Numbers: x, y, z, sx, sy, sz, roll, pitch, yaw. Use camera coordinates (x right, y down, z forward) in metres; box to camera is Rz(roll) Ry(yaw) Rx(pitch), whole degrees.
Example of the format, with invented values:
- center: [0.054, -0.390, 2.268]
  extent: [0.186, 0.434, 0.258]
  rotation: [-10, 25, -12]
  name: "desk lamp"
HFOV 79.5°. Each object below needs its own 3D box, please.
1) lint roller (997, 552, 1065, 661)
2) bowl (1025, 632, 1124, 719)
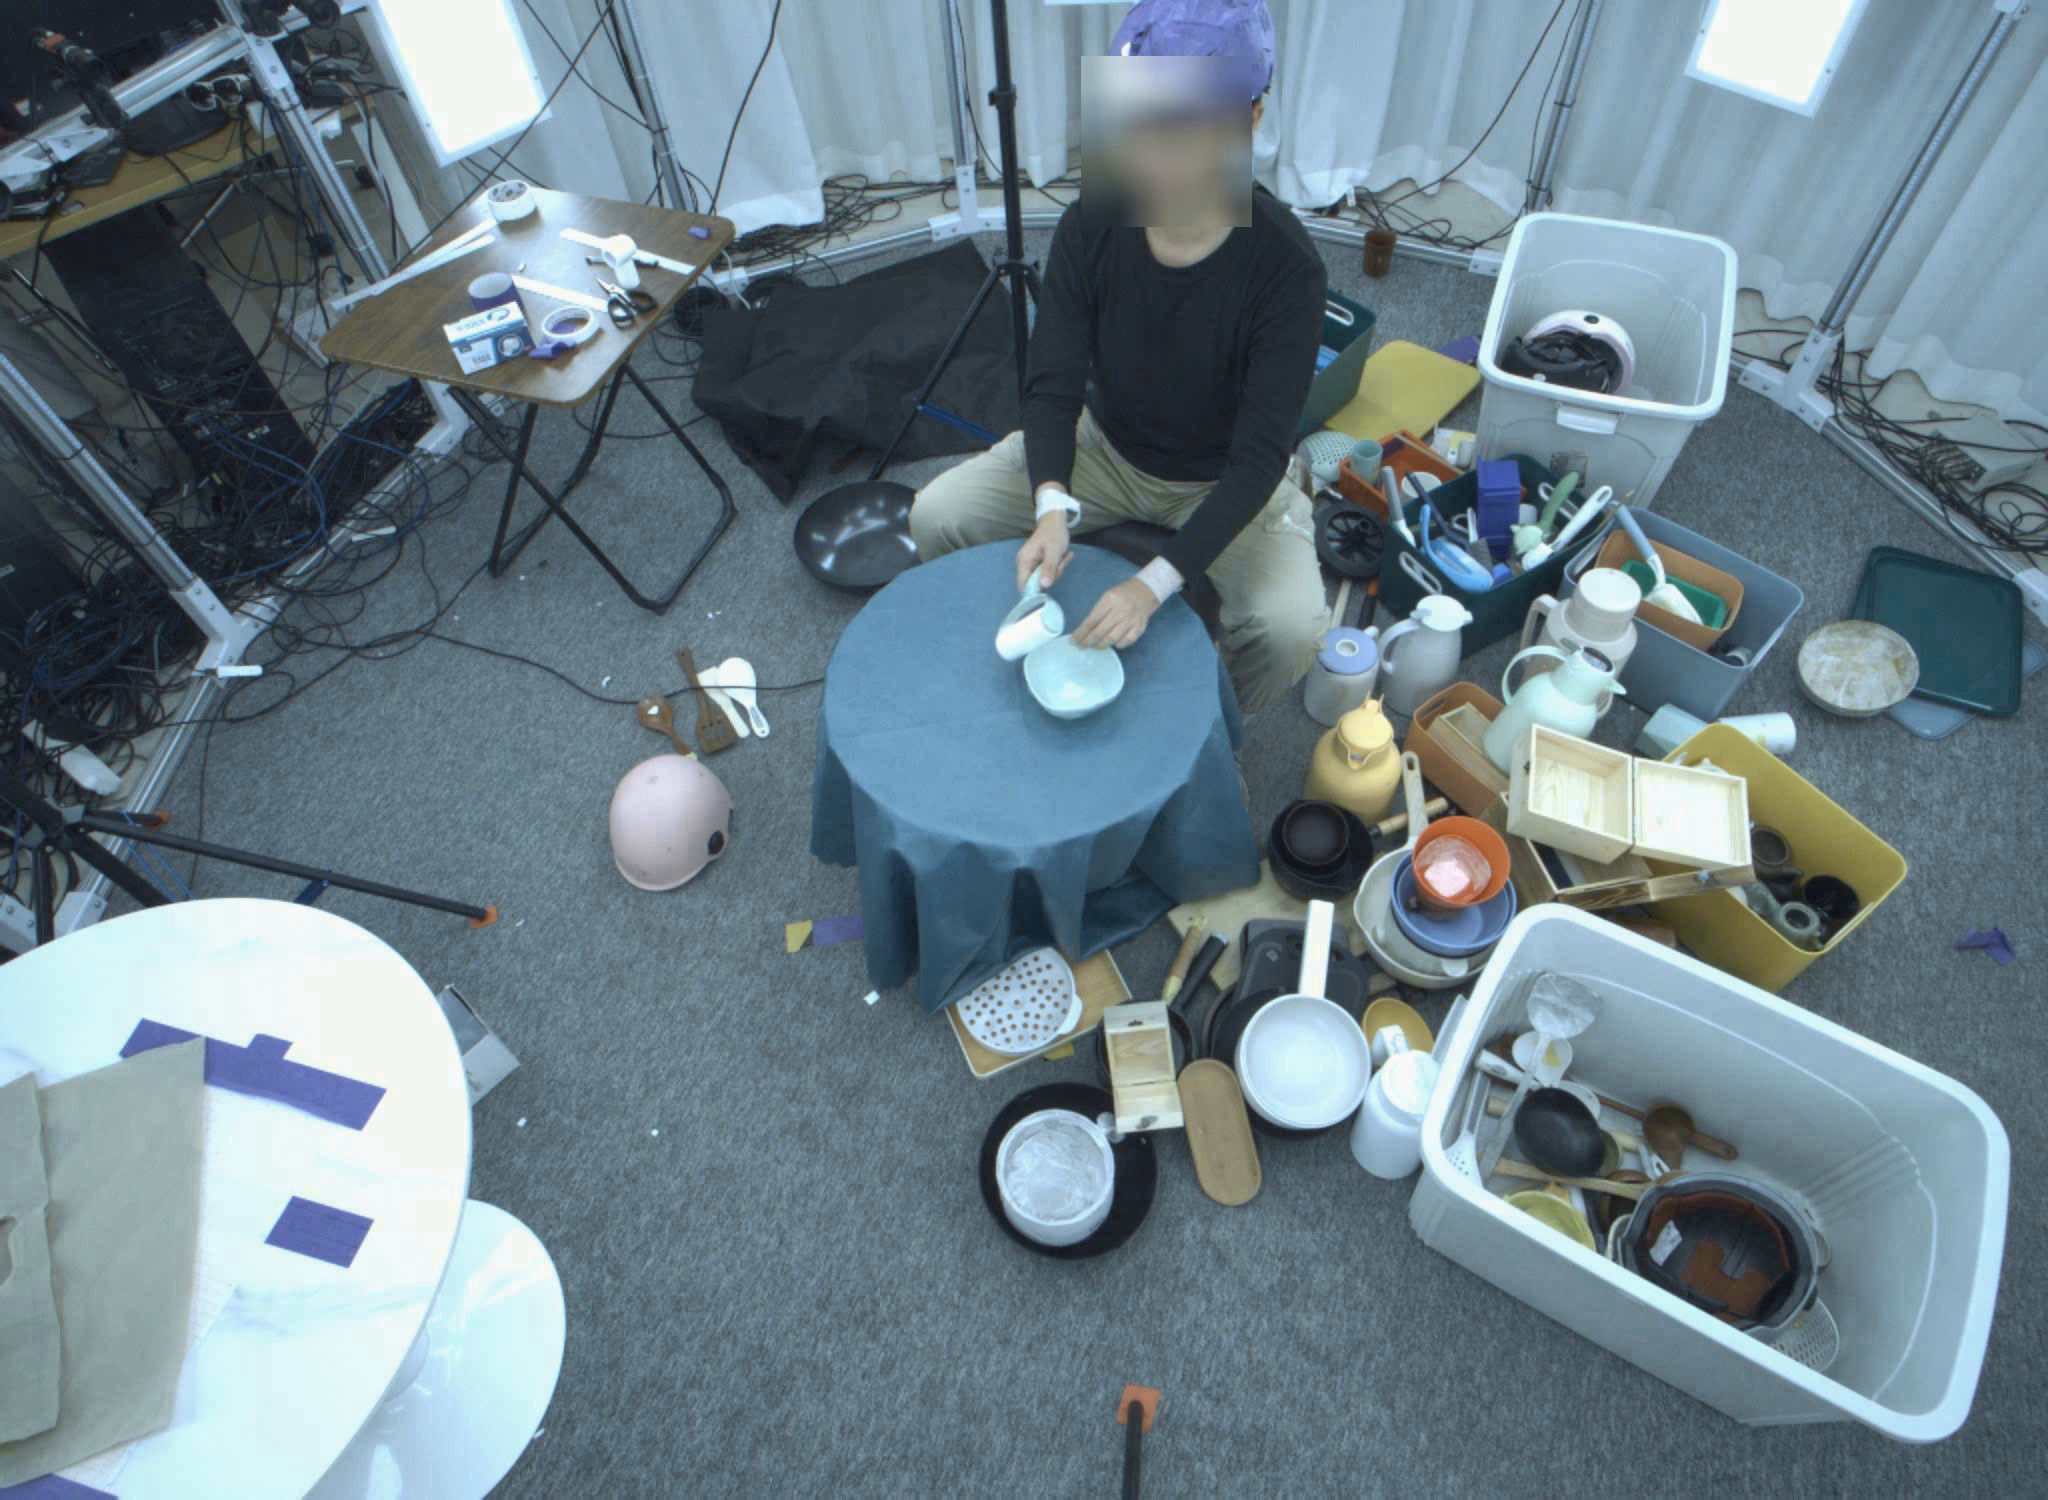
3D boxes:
- center: [0.024, -0.231, 1.834]
  extent: [0.049, 0.115, 0.196]
  rotation: [32, 54, -27]
  name: "lint roller"
- center: [0.075, -0.100, 1.821]
  extent: [0.151, 0.059, 0.150]
  rotation: [0, 57, 2]
  name: "bowl"
